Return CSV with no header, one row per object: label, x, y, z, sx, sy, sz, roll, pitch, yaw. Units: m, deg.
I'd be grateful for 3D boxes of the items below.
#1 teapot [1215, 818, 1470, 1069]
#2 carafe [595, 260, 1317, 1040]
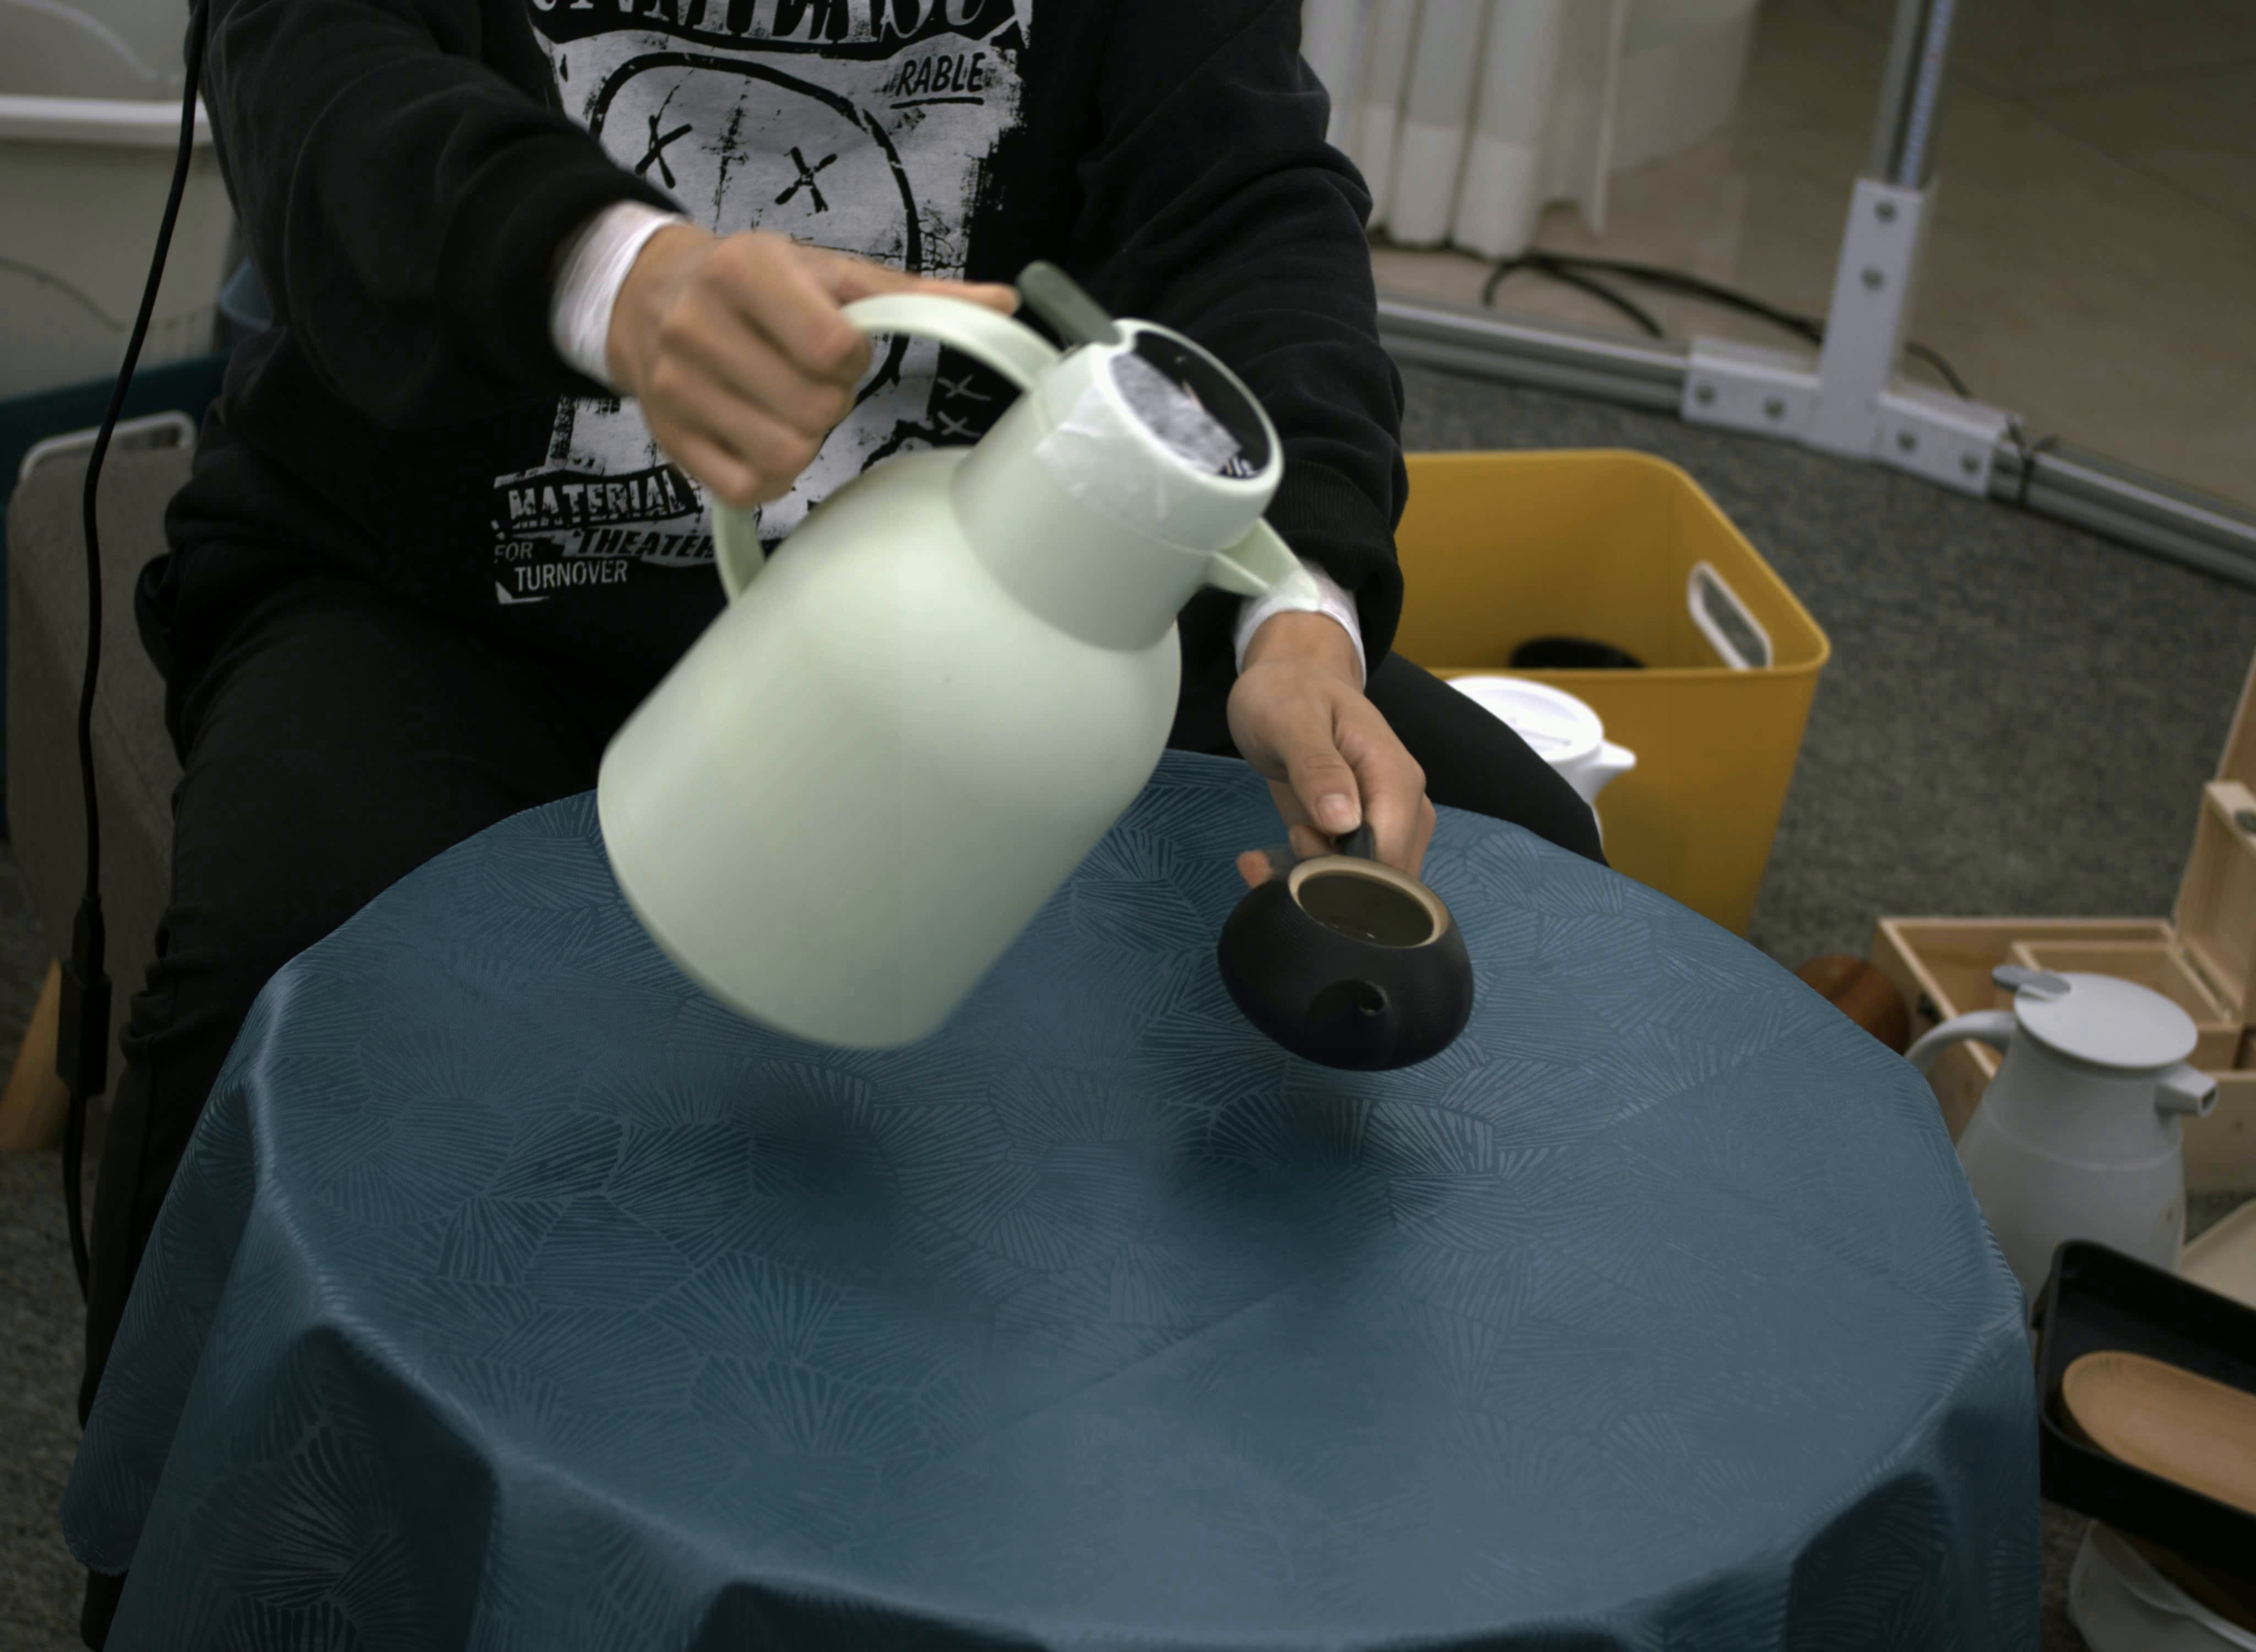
teapot,0.075,0.046,1.835,0.090,0.053,0.134,13,30,-8
carafe,-0.065,-0.065,1.732,0.186,0.256,0.144,39,32,-1
